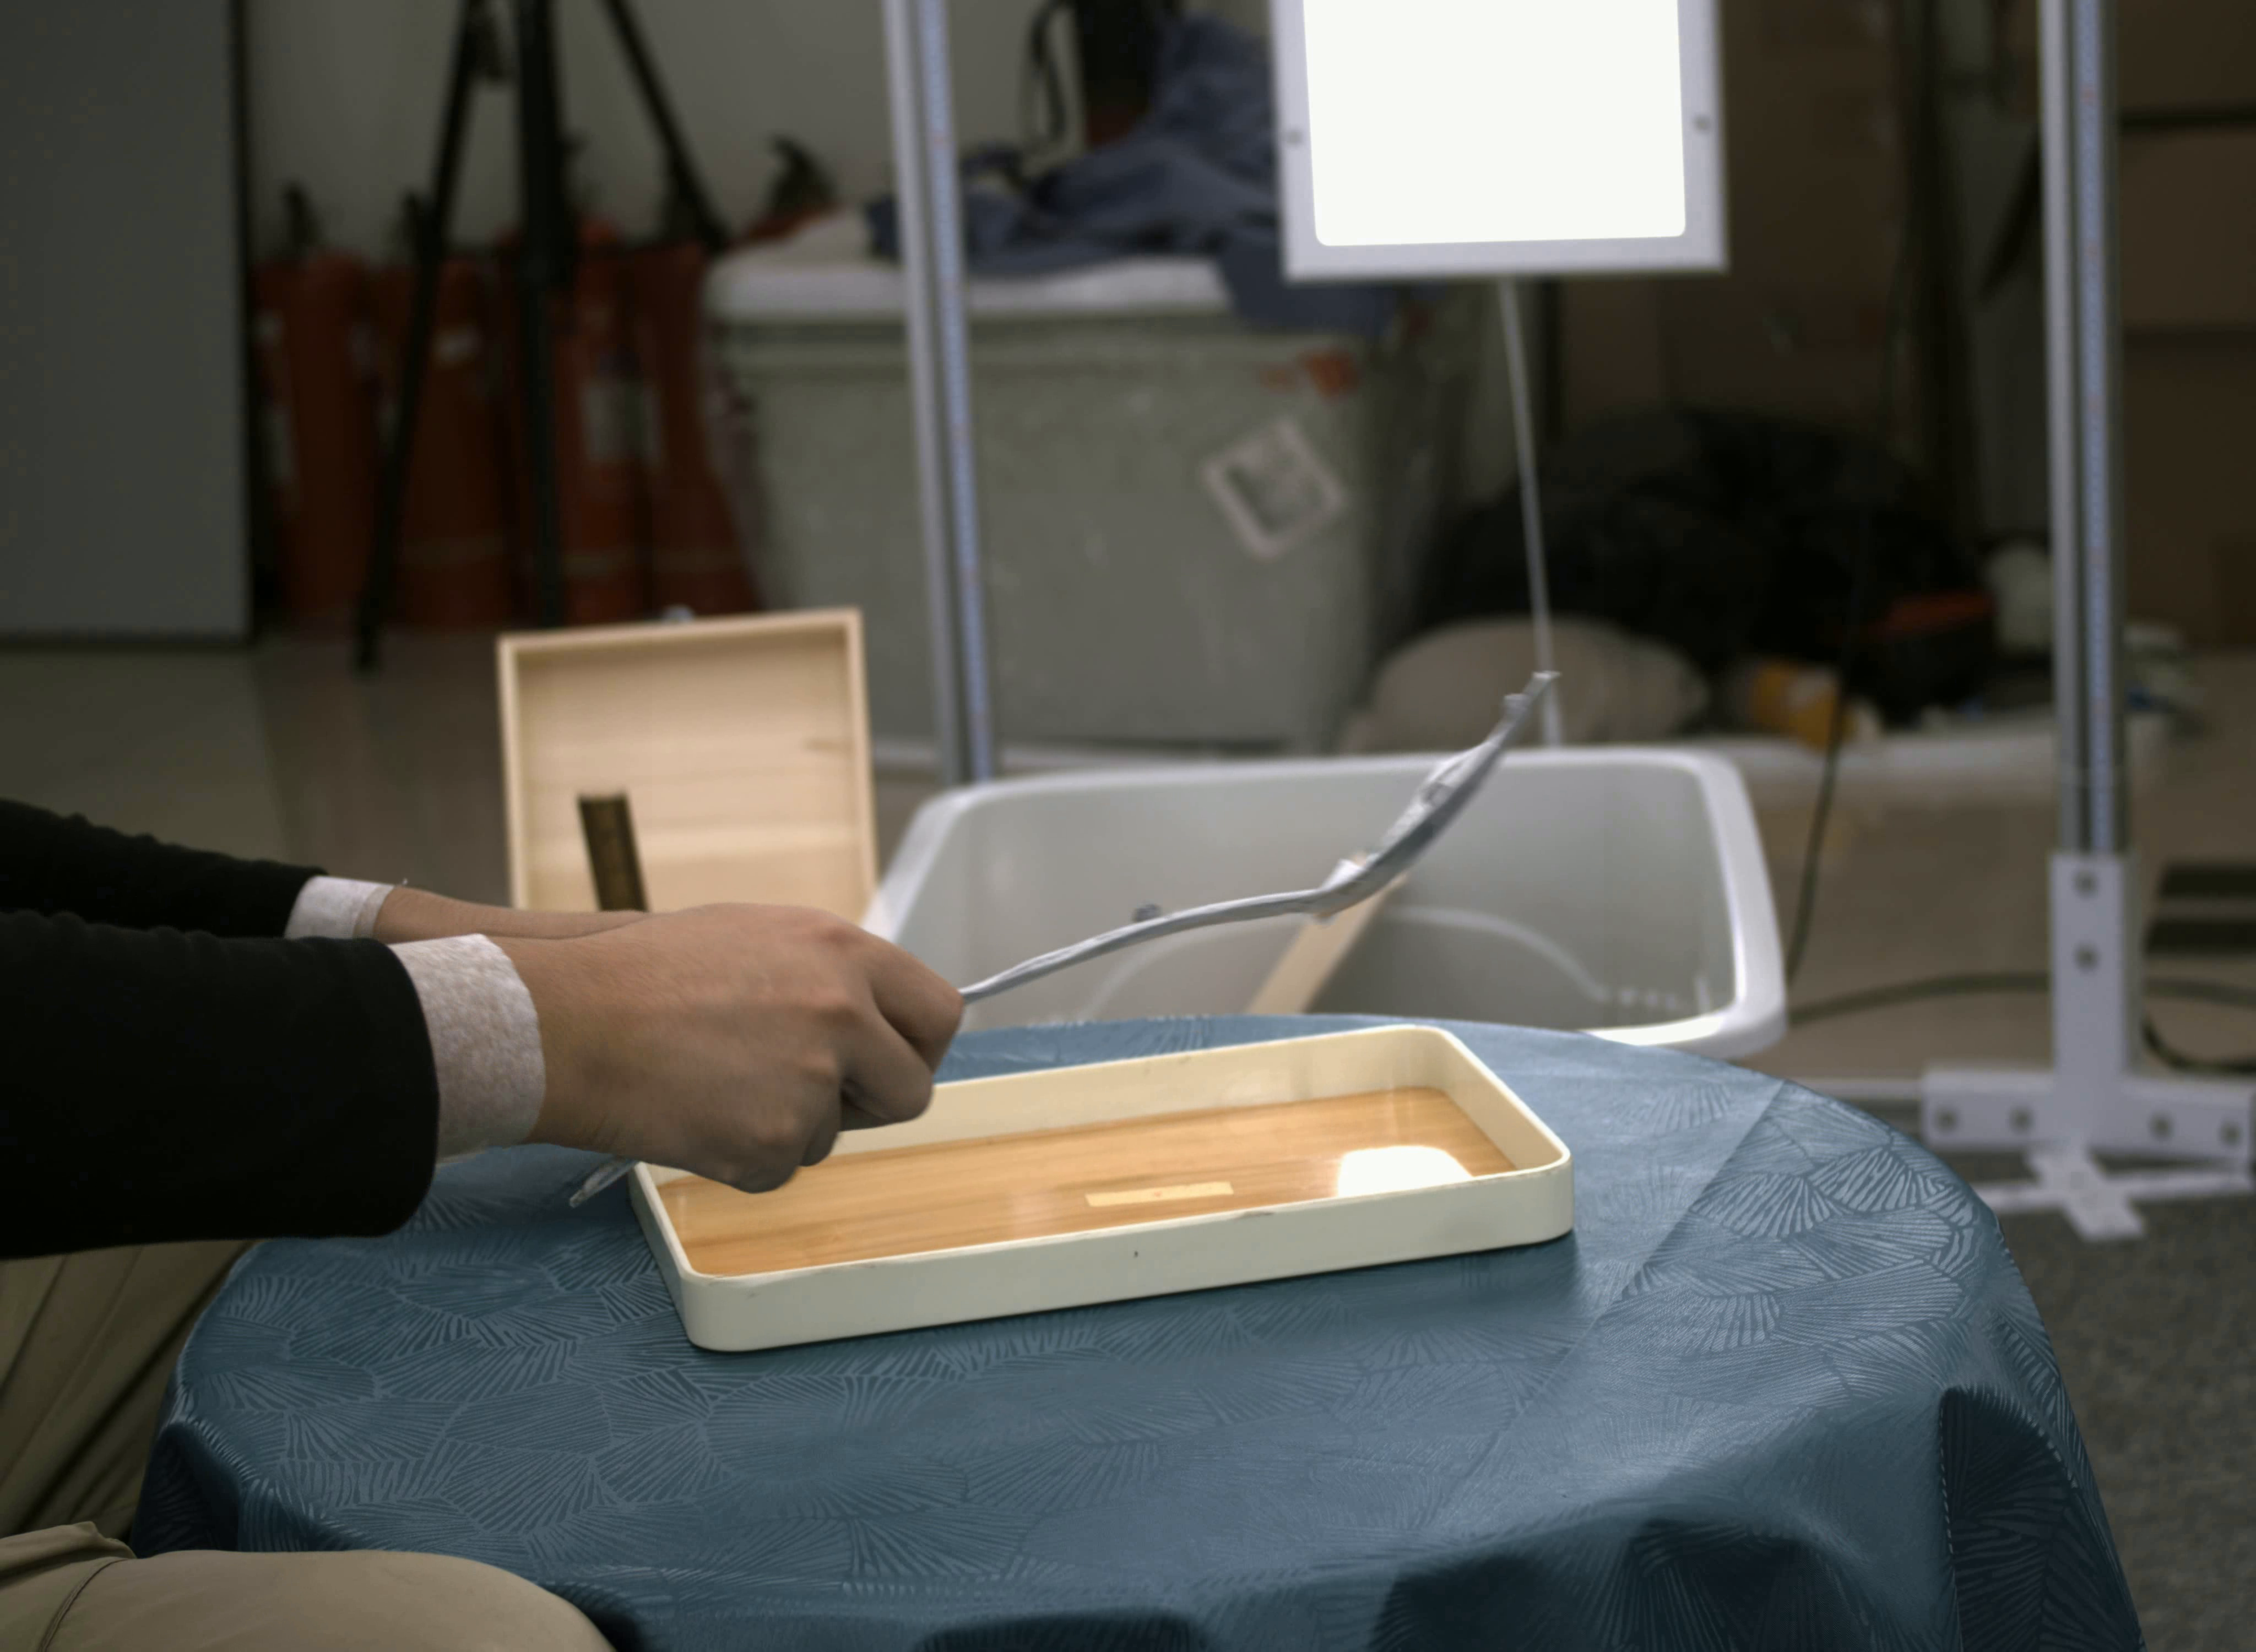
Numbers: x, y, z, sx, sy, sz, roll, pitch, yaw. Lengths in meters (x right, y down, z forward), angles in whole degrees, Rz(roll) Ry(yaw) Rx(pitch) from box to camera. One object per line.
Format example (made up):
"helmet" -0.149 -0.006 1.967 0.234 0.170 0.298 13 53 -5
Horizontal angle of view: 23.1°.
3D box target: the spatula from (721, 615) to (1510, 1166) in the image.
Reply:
"spatula" 0.001 0.024 1.707 0.356 0.100 0.045 -22 59 -38

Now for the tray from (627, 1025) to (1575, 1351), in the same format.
"tray" -0.013 0.121 1.871 0.297 0.027 0.192 -7 14 -8
